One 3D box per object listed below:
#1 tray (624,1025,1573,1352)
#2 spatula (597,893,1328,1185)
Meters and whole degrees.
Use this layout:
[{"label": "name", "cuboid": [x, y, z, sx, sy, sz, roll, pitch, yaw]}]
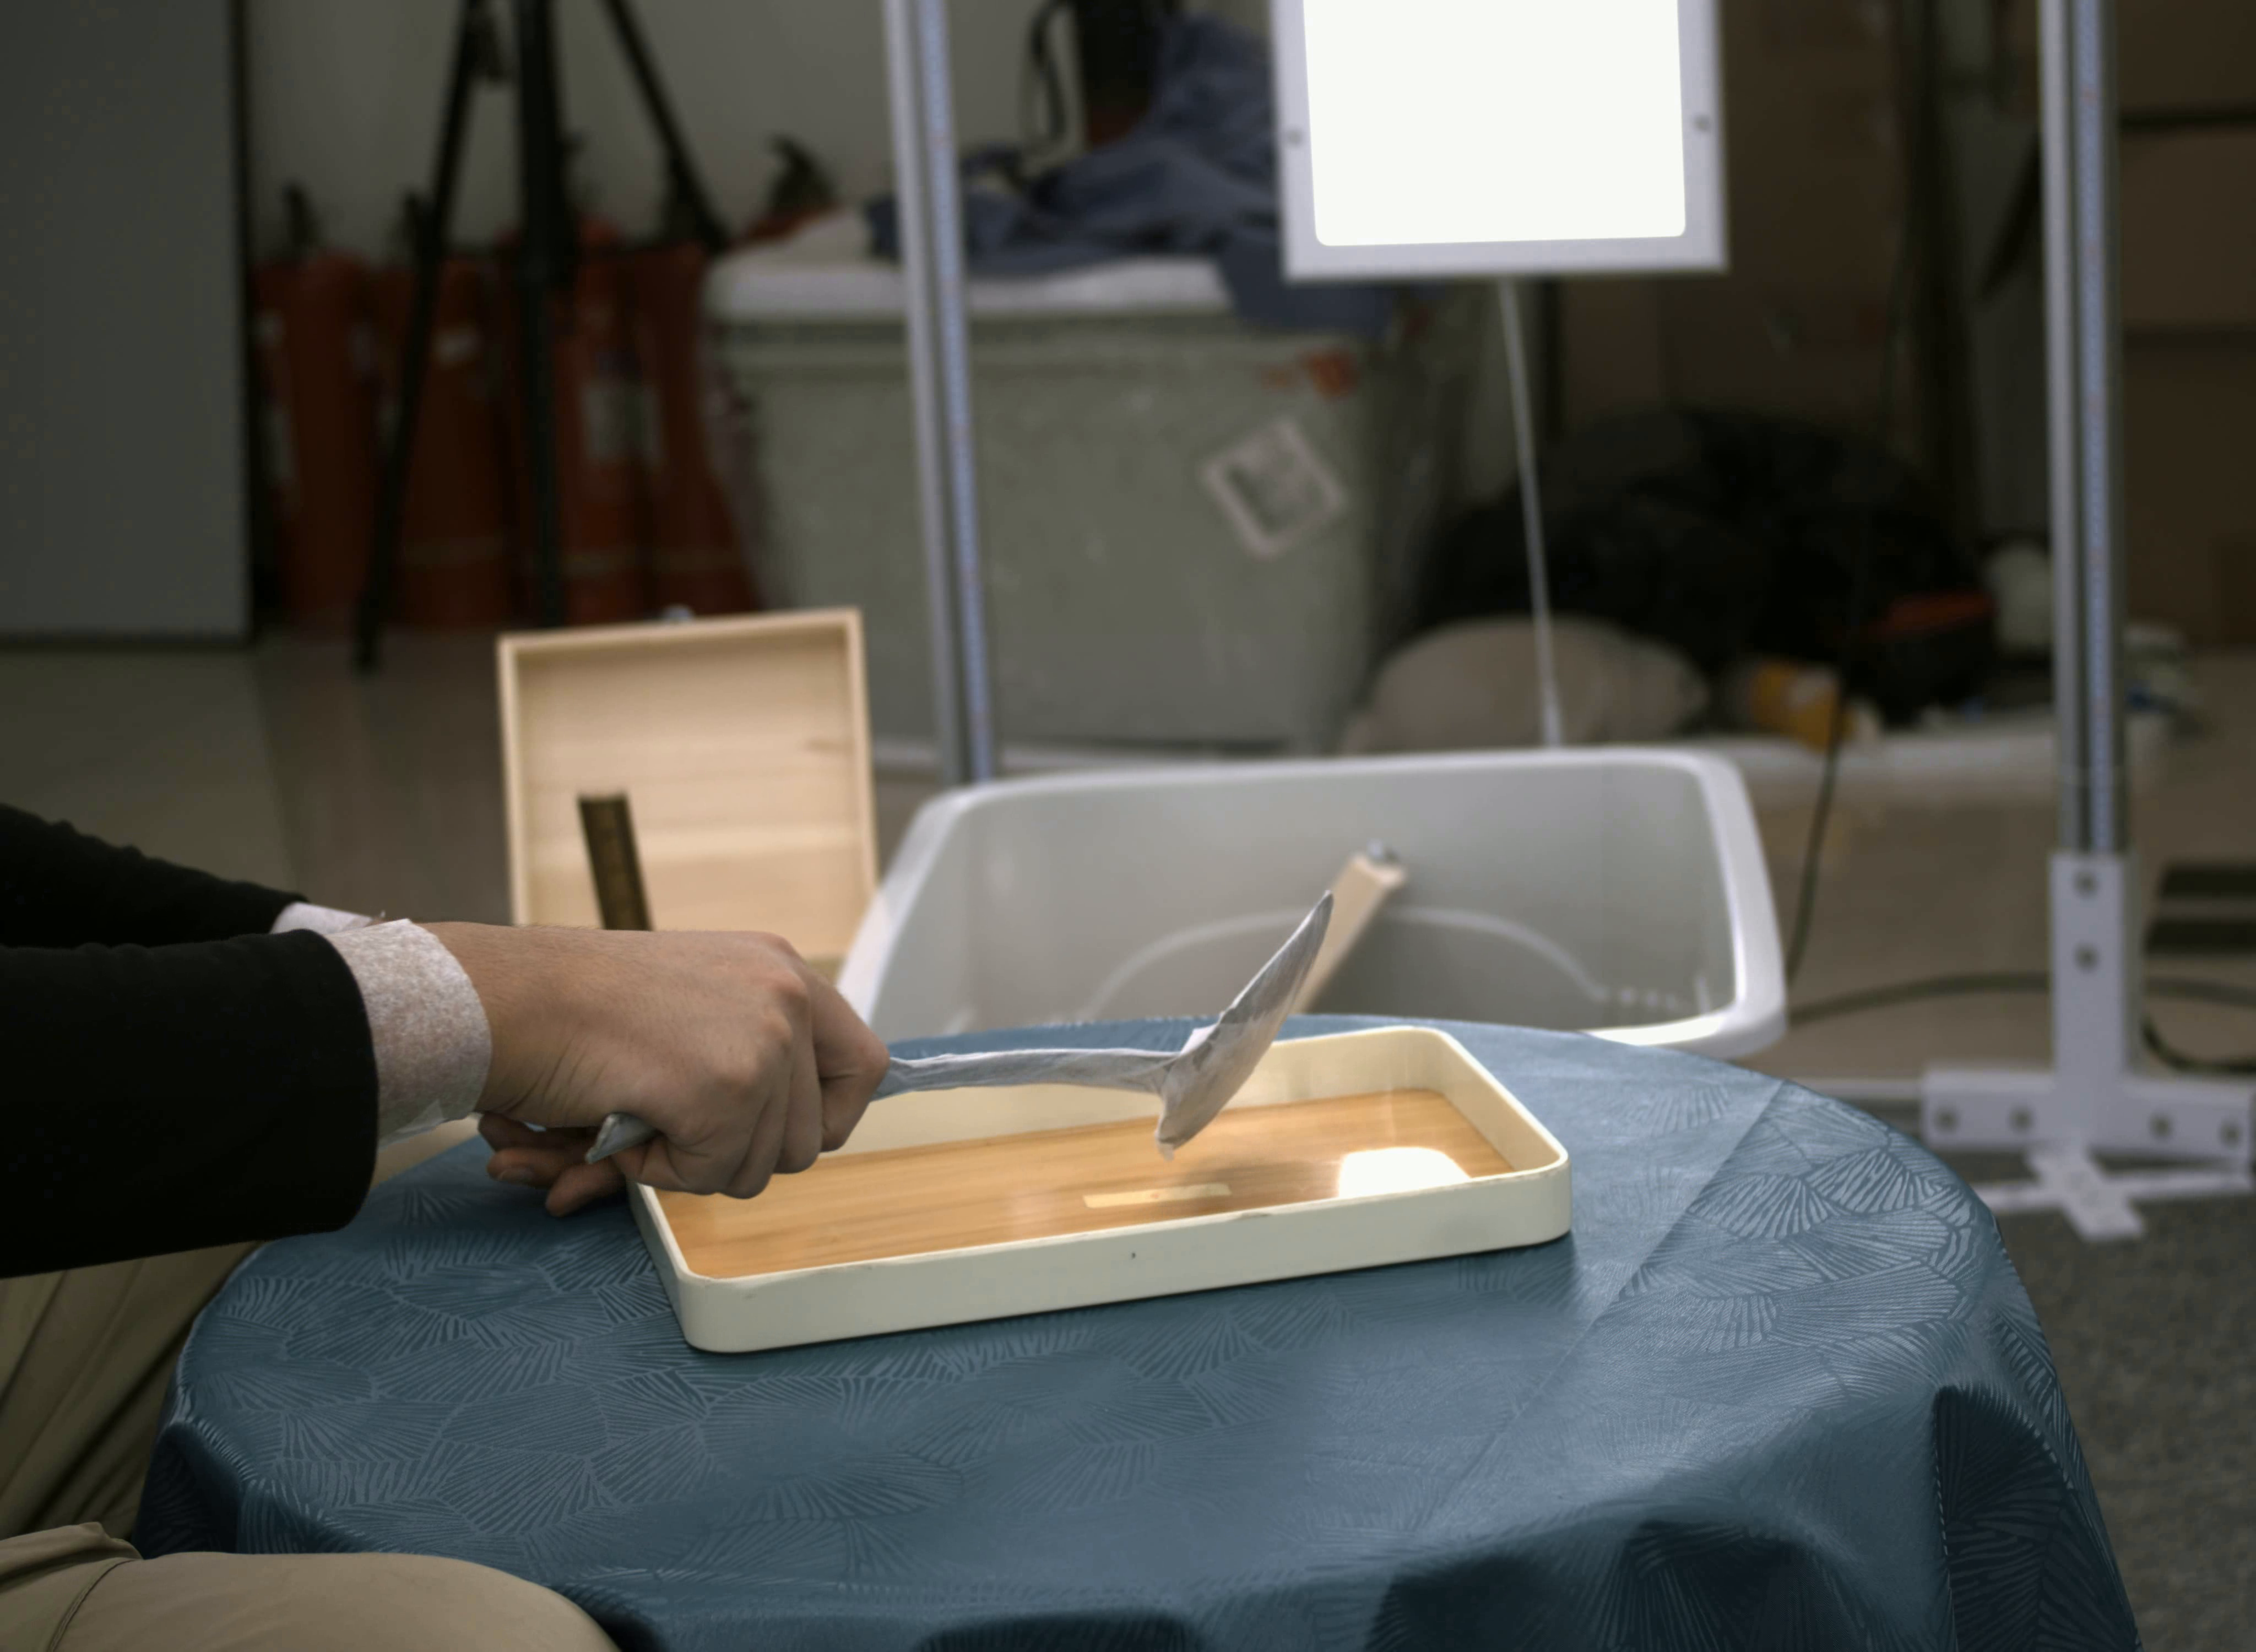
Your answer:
[{"label": "tray", "cuboid": [-0.014, 0.121, 1.870, 0.297, 0.027, 0.192, -7, 14, -8]}, {"label": "spatula", "cuboid": [-0.048, 0.077, 1.752, 0.355, 0.100, 0.045, -3, 39, -49]}]
